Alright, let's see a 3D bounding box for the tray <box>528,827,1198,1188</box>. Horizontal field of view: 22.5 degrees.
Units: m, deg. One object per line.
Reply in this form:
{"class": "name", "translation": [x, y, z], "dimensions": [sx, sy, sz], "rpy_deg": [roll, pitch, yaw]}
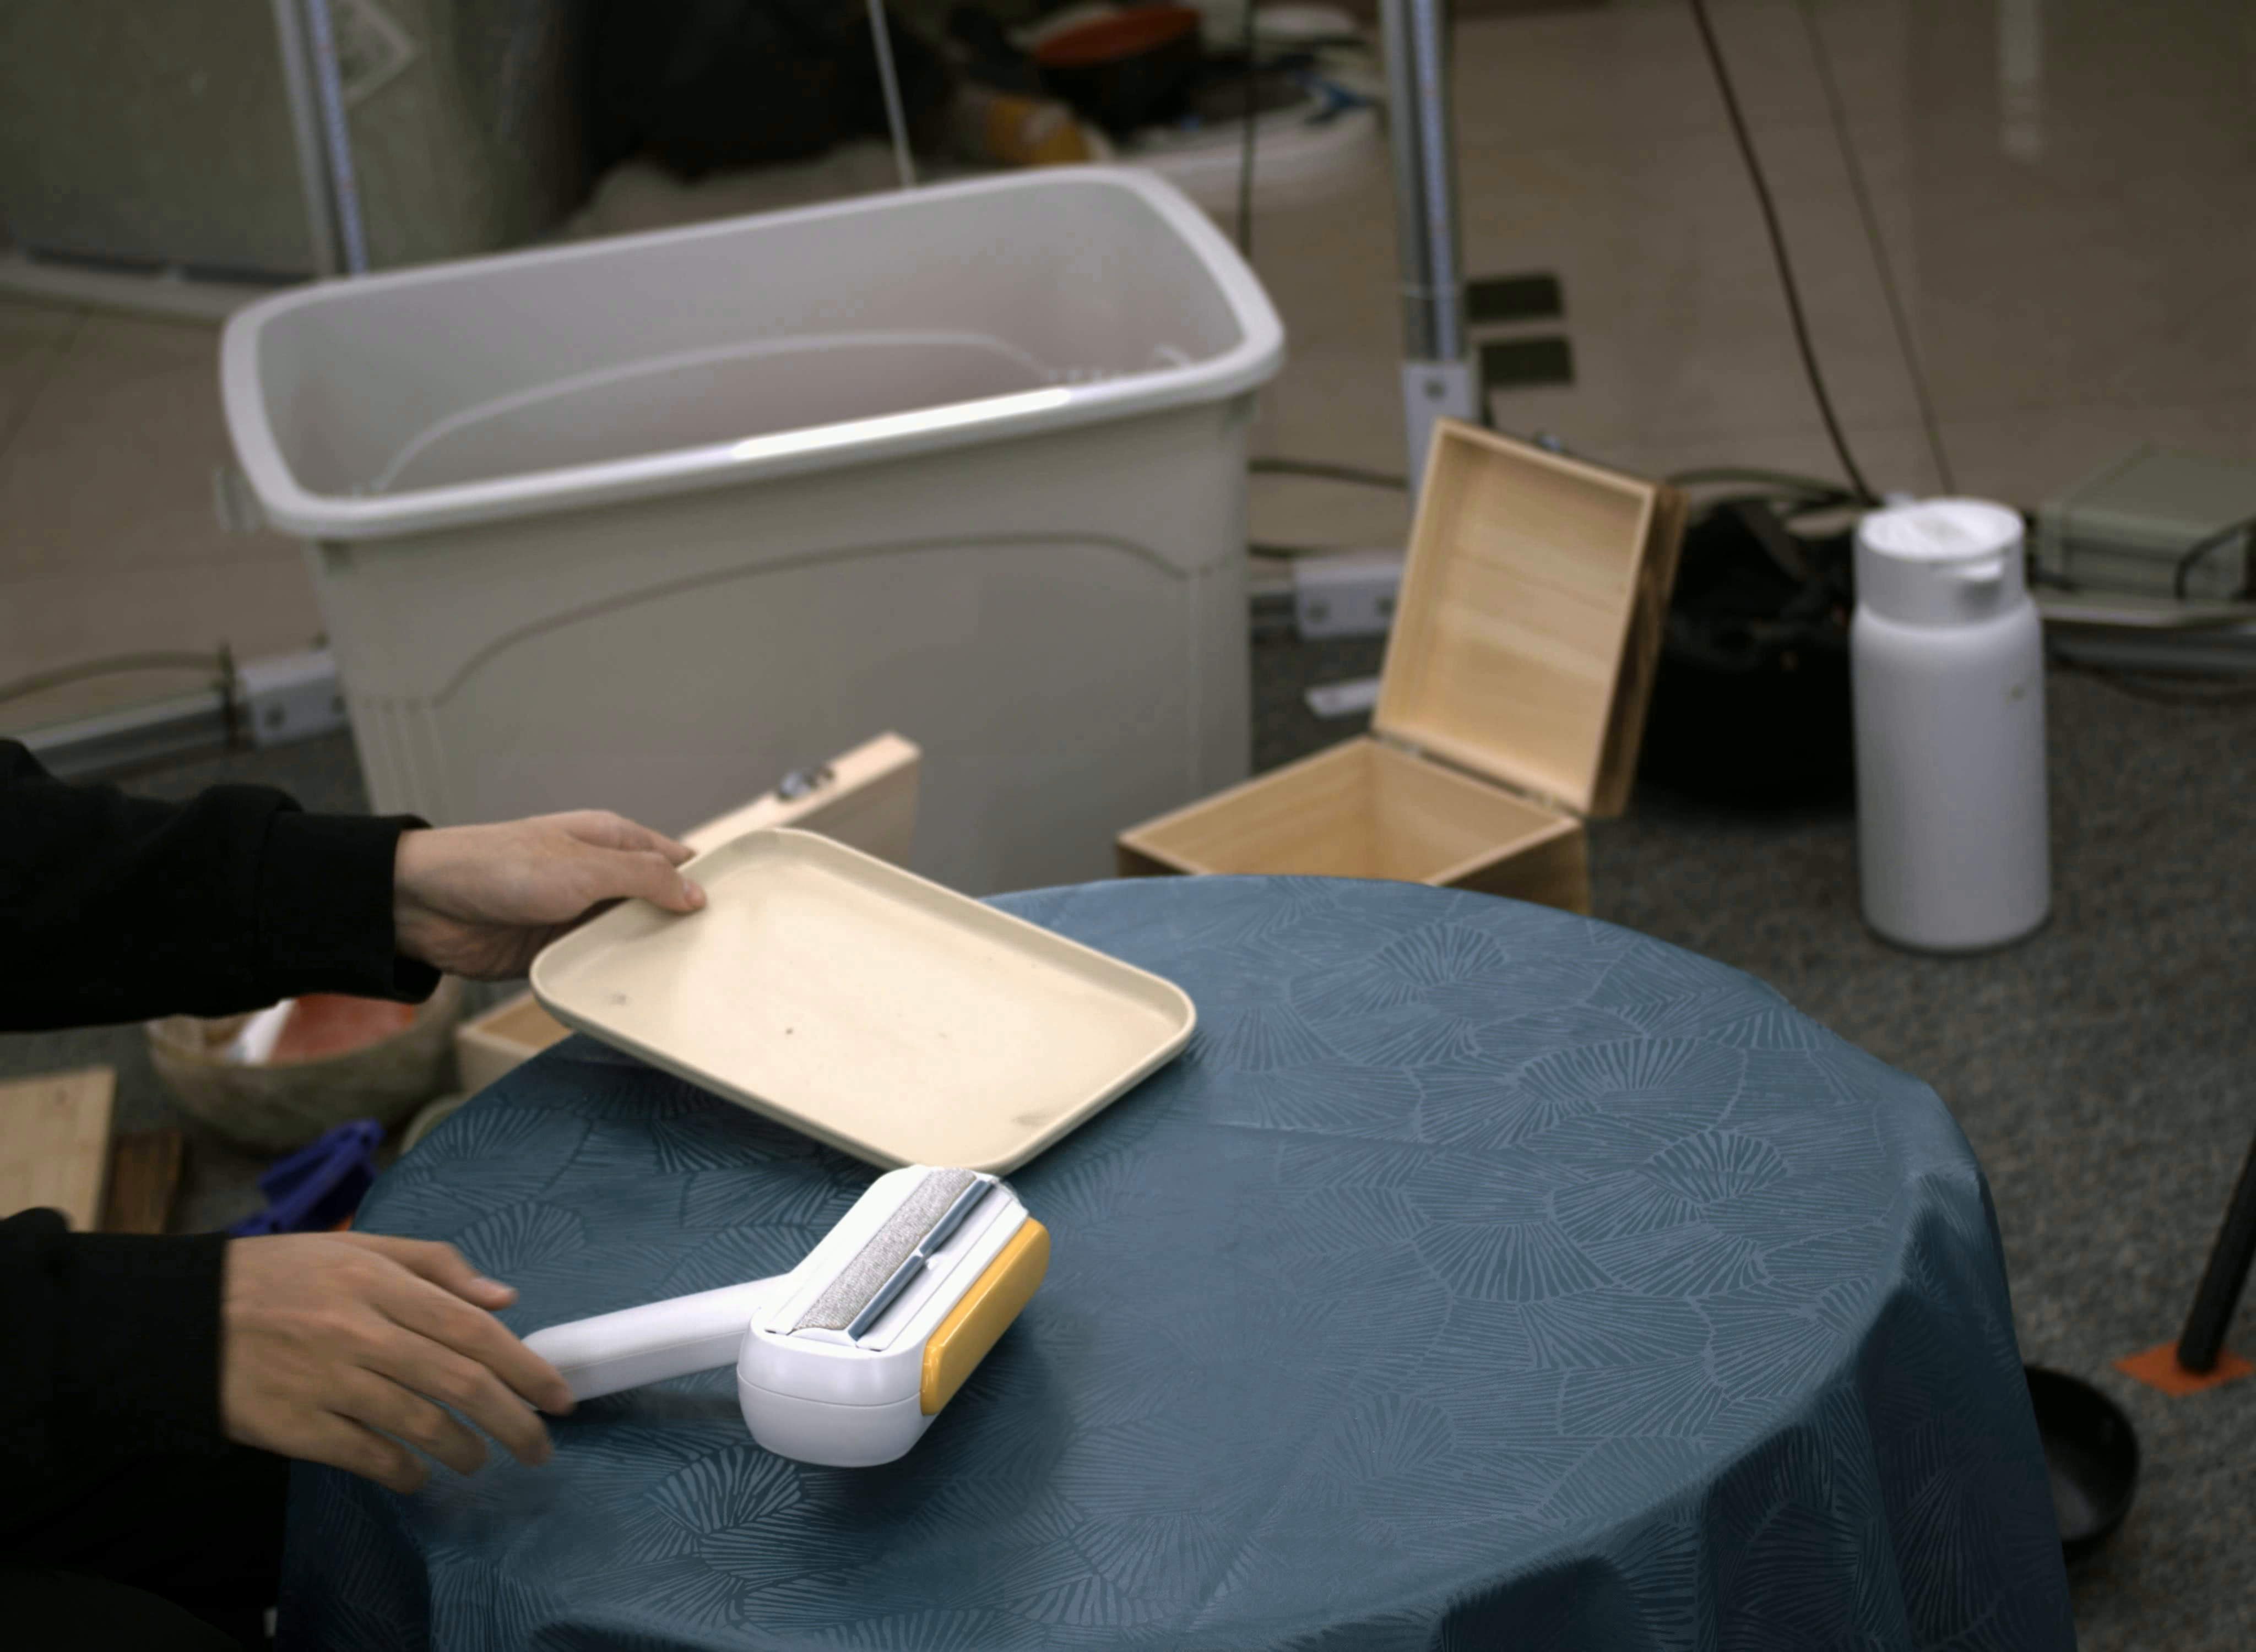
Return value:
{"class": "tray", "translation": [-0.105, 0.072, 2.250], "dimensions": [0.238, 0.018, 0.169], "rpy_deg": [22, 38, 30]}

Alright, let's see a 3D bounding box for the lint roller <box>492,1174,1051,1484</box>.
{"class": "lint roller", "translation": [-0.139, 0.179, 2.012], "dimensions": [0.192, 0.075, 0.190], "rpy_deg": [1, 21, 19]}
